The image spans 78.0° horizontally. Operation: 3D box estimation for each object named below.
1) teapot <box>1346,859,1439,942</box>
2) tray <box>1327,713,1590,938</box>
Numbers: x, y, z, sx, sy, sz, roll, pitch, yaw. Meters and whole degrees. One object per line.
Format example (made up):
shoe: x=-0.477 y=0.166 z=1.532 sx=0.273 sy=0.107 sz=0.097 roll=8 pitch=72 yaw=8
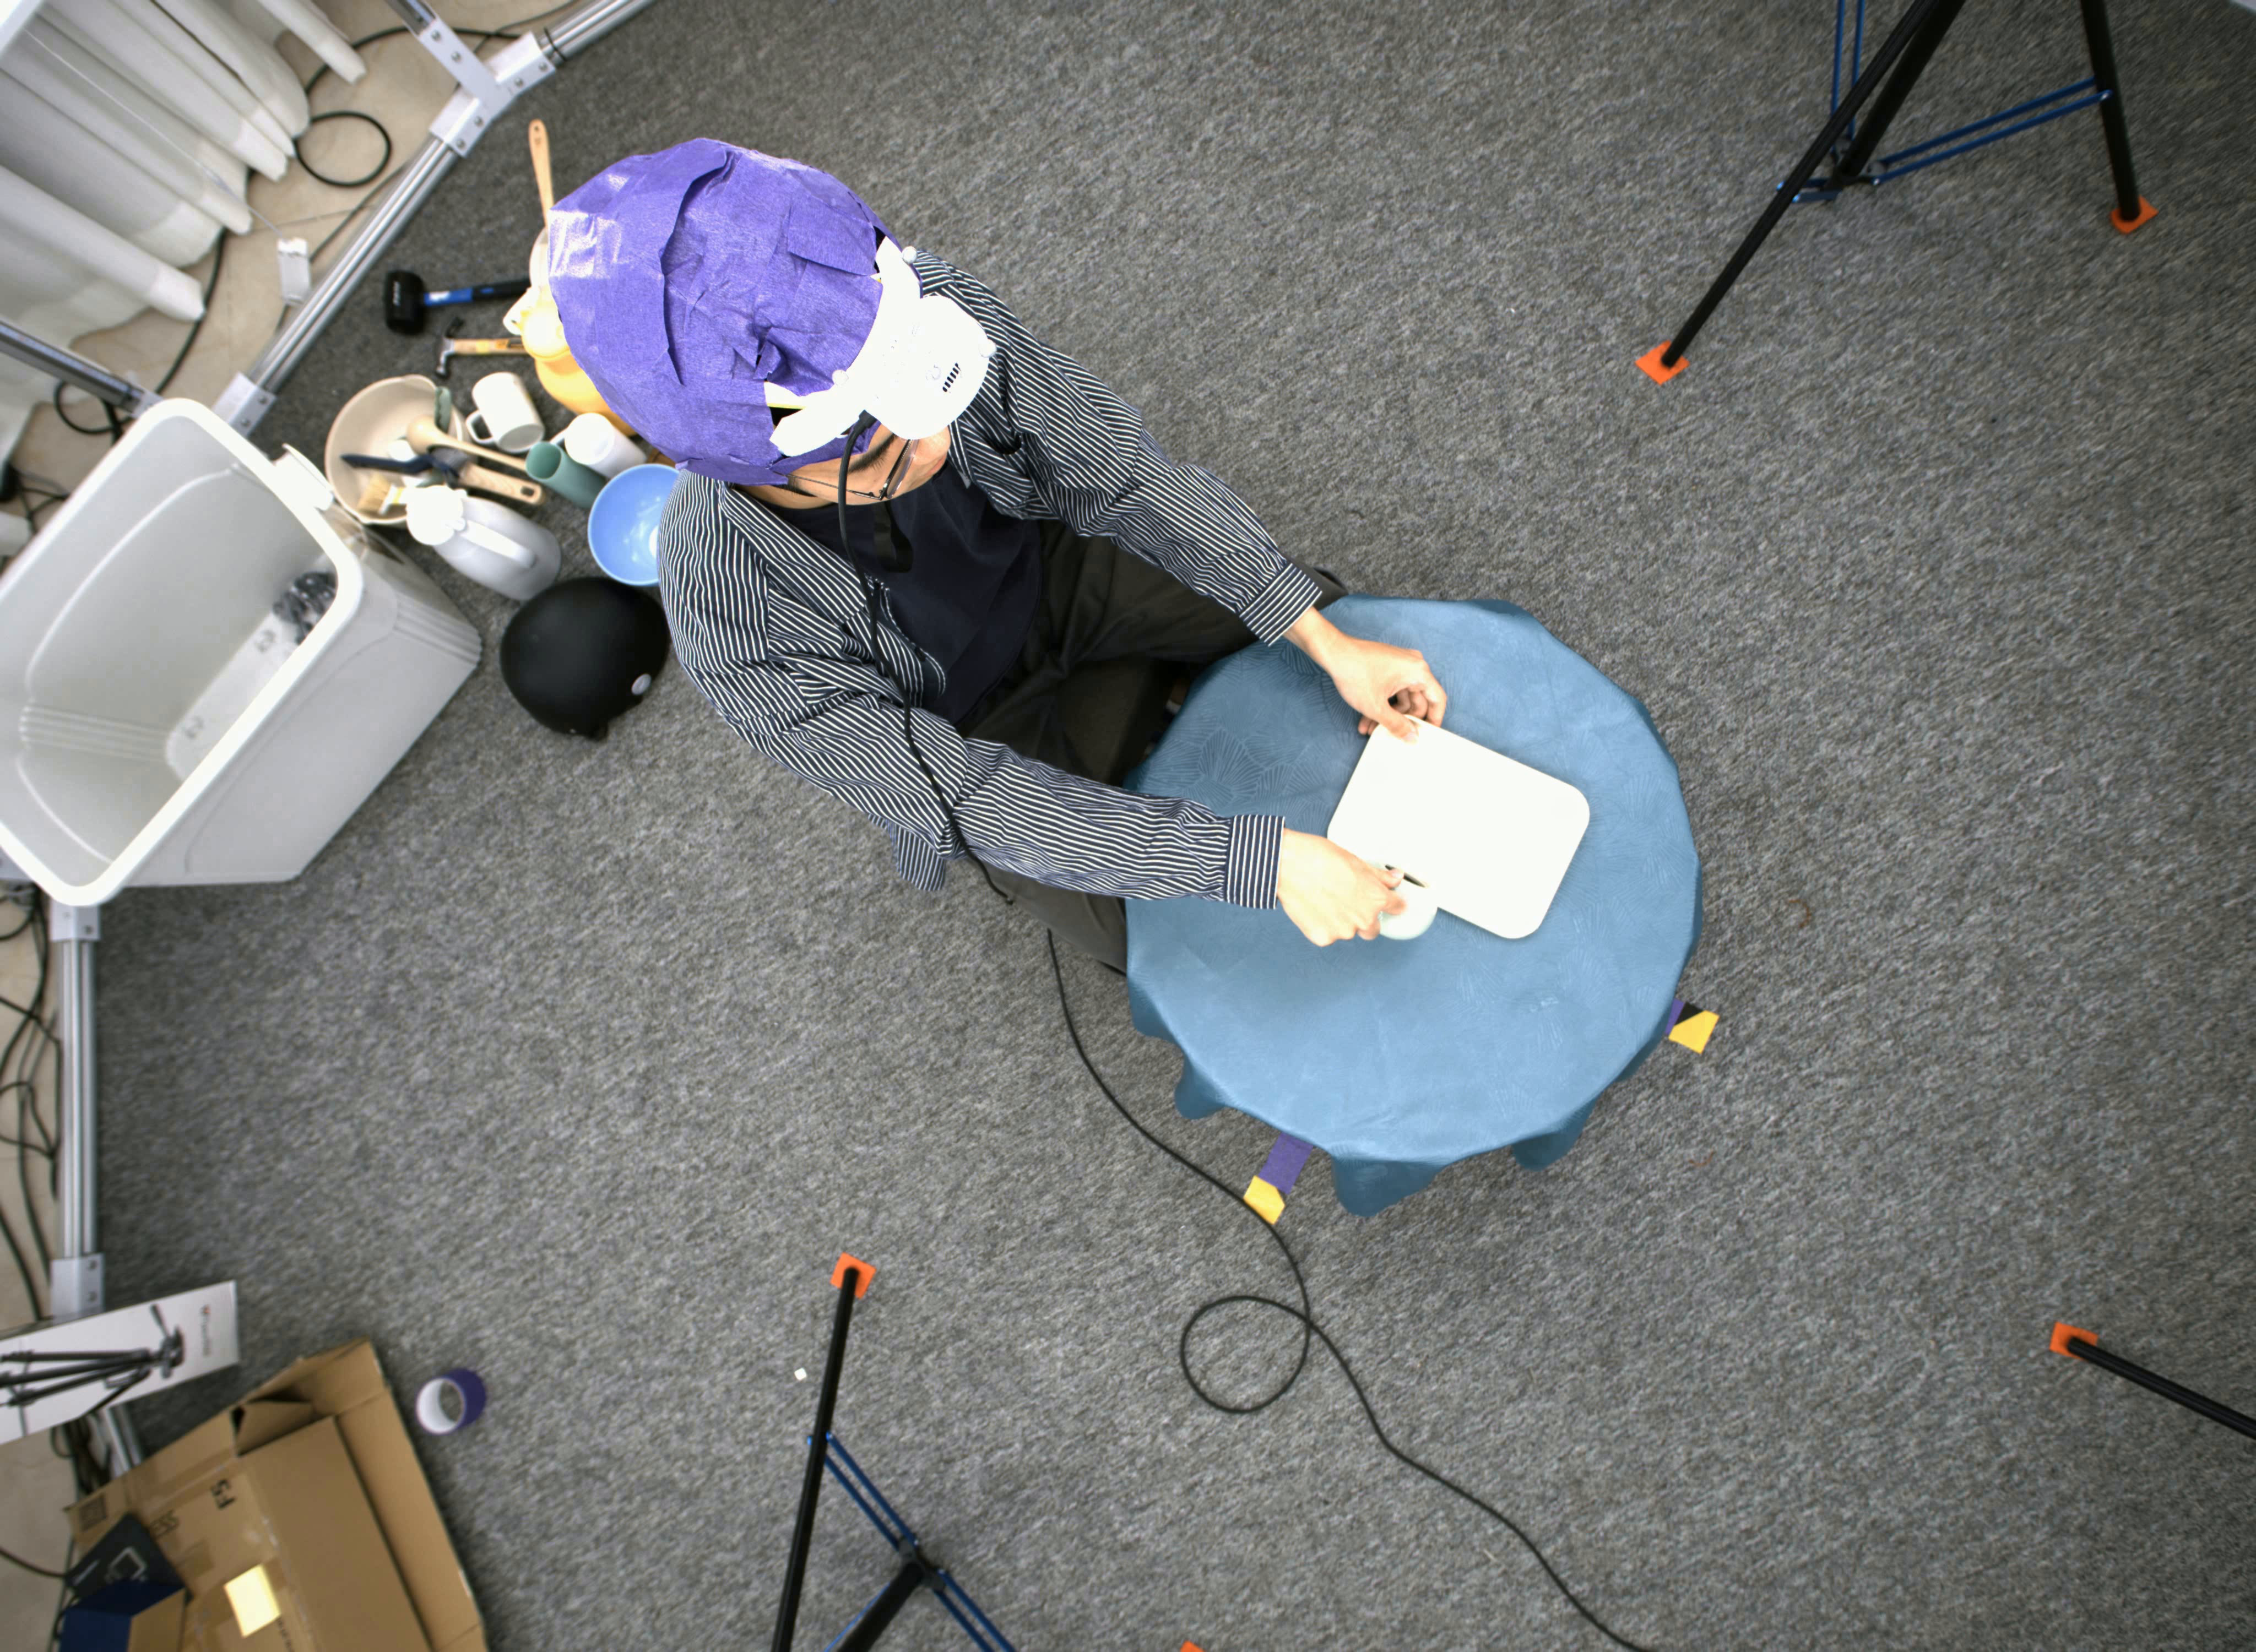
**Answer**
teapot: x=0.254 y=0.073 z=1.342 sx=0.091 sy=0.127 sz=0.062 roll=35 pitch=110 yaw=22
tray: x=0.340 y=-0.003 z=1.424 sx=0.239 sy=0.017 sz=0.172 roll=25 pitch=96 yaw=9
